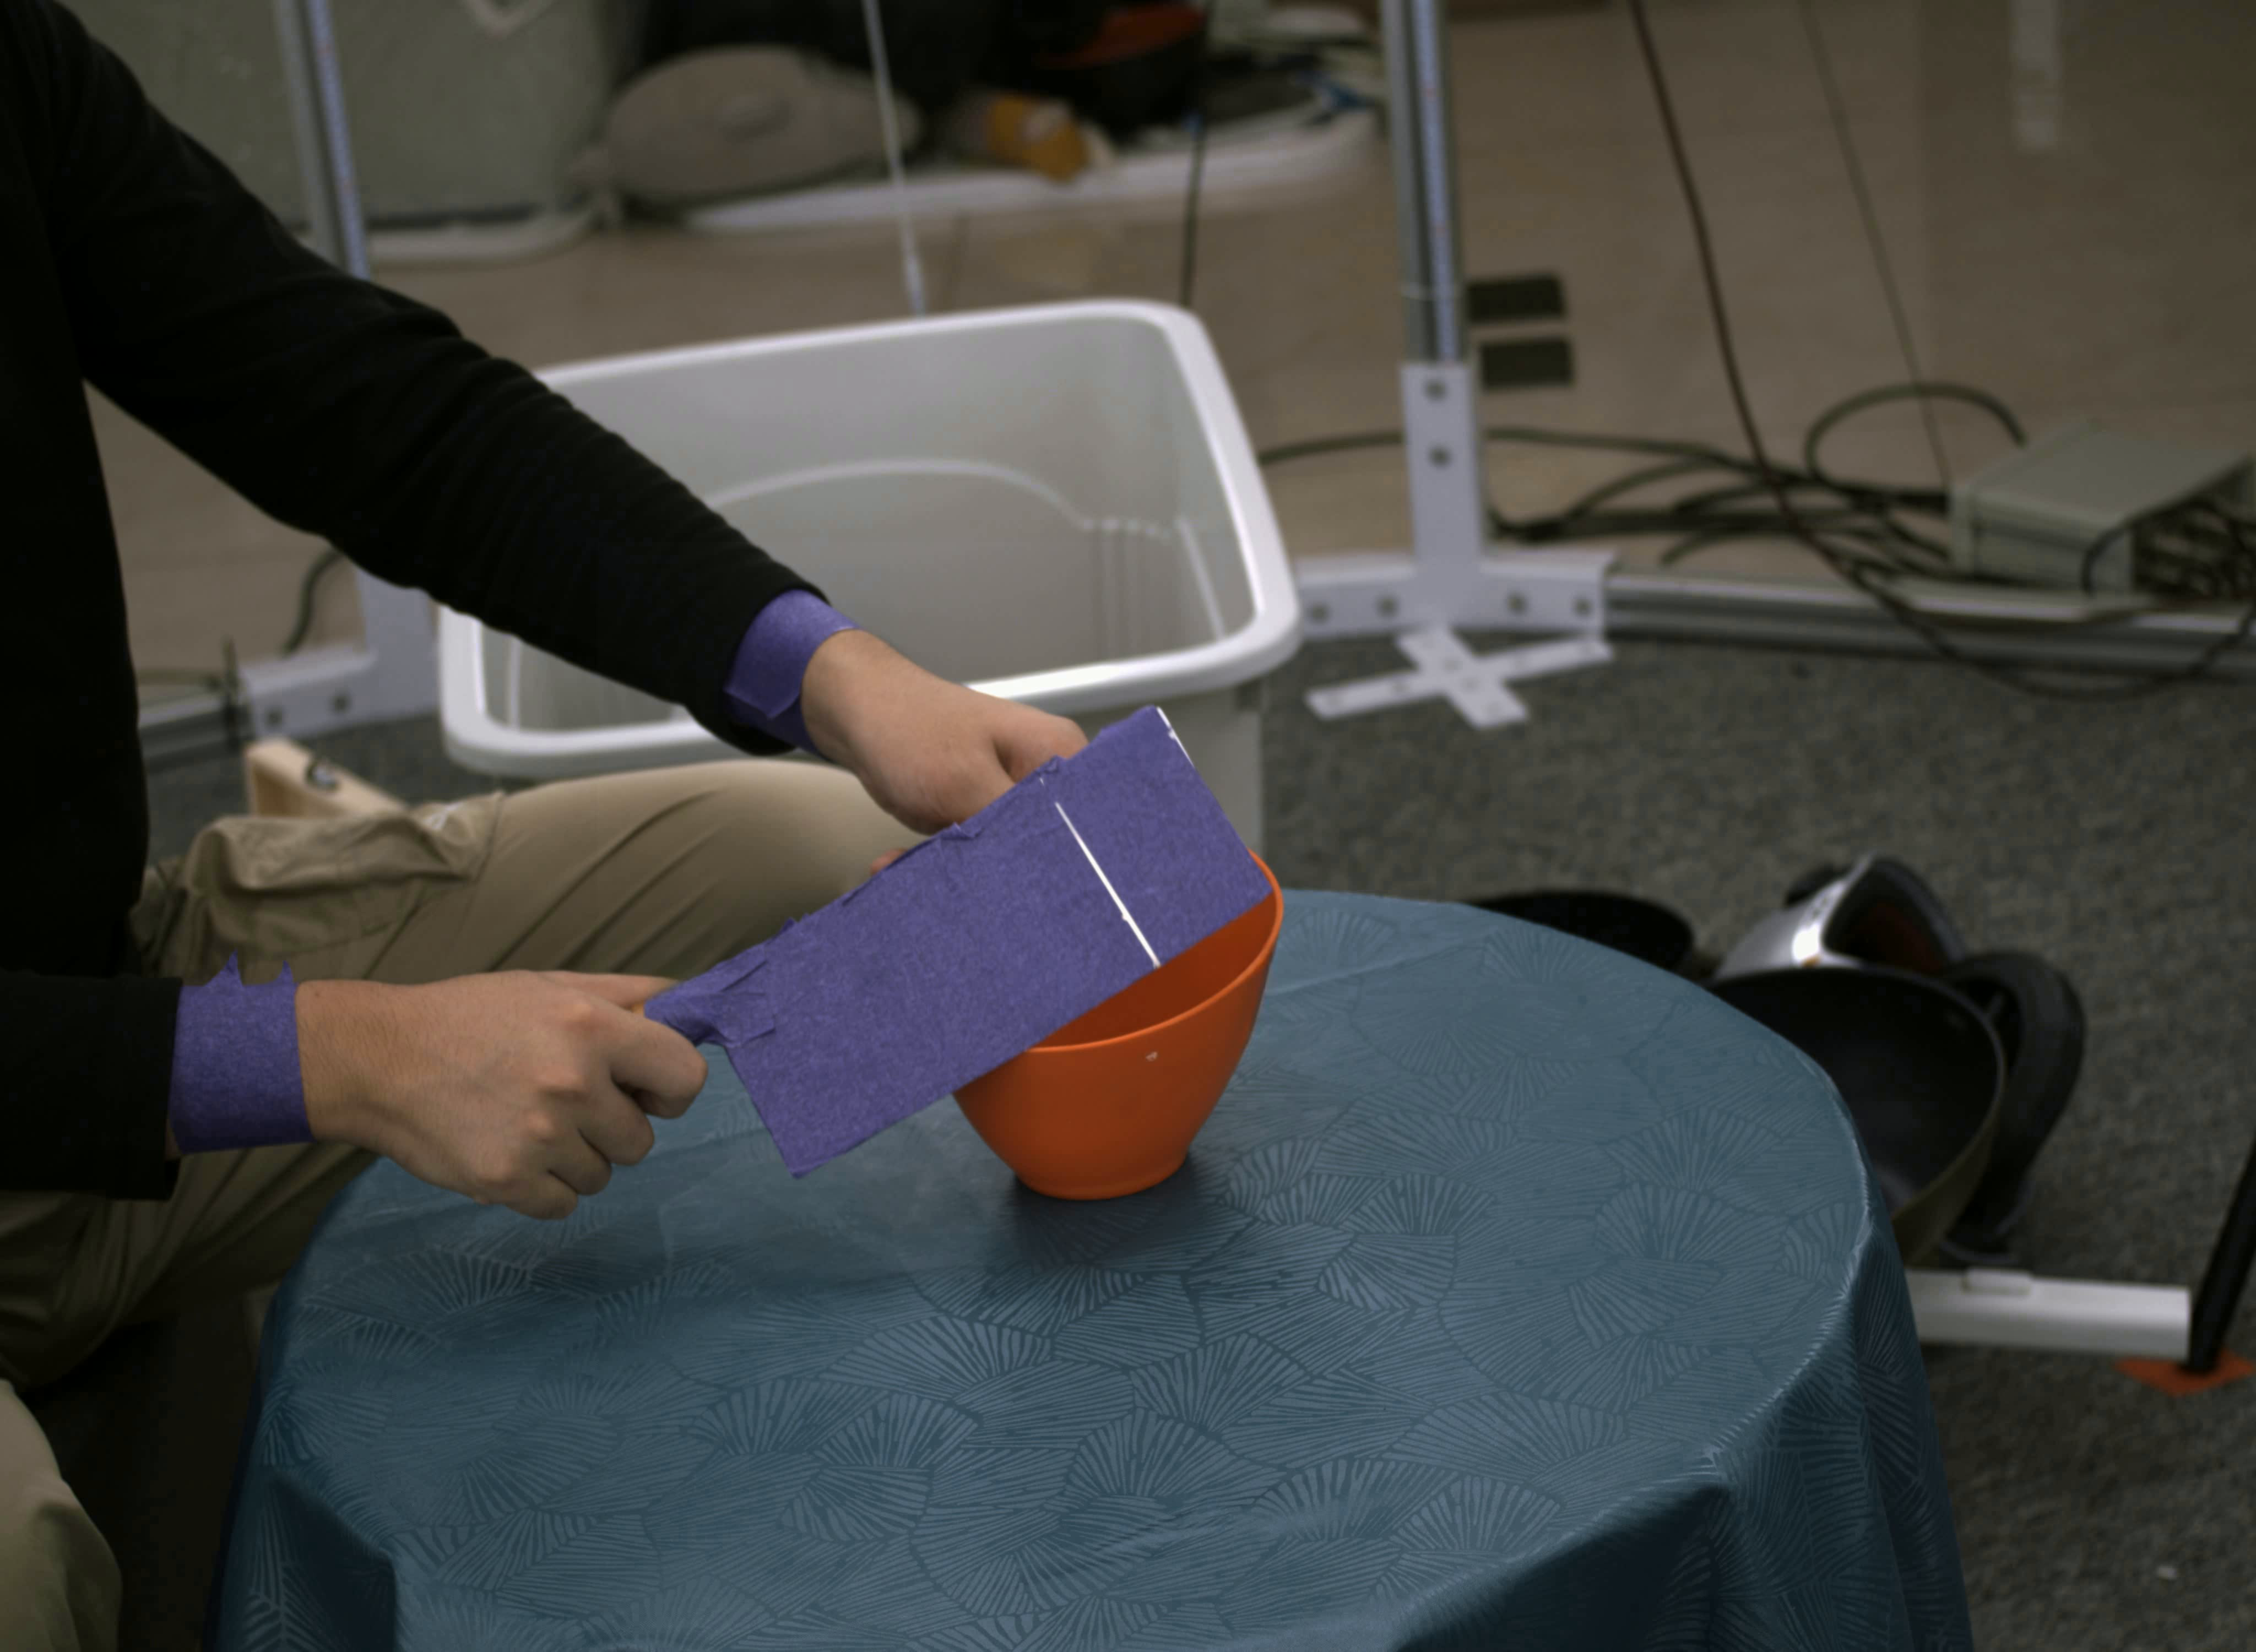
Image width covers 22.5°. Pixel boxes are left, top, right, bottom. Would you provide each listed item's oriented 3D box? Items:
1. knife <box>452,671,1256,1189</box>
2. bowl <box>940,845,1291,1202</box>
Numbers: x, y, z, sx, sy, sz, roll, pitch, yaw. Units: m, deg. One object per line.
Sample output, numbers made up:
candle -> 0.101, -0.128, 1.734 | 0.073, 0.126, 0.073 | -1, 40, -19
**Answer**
knife -> -0.102, 0.063, 2.104 | 0.315, 0.032, 0.103 | -33, 68, 5
bowl -> -0.009, 0.078, 2.160 | 0.148, 0.106, 0.146 | -3, 27, 2
